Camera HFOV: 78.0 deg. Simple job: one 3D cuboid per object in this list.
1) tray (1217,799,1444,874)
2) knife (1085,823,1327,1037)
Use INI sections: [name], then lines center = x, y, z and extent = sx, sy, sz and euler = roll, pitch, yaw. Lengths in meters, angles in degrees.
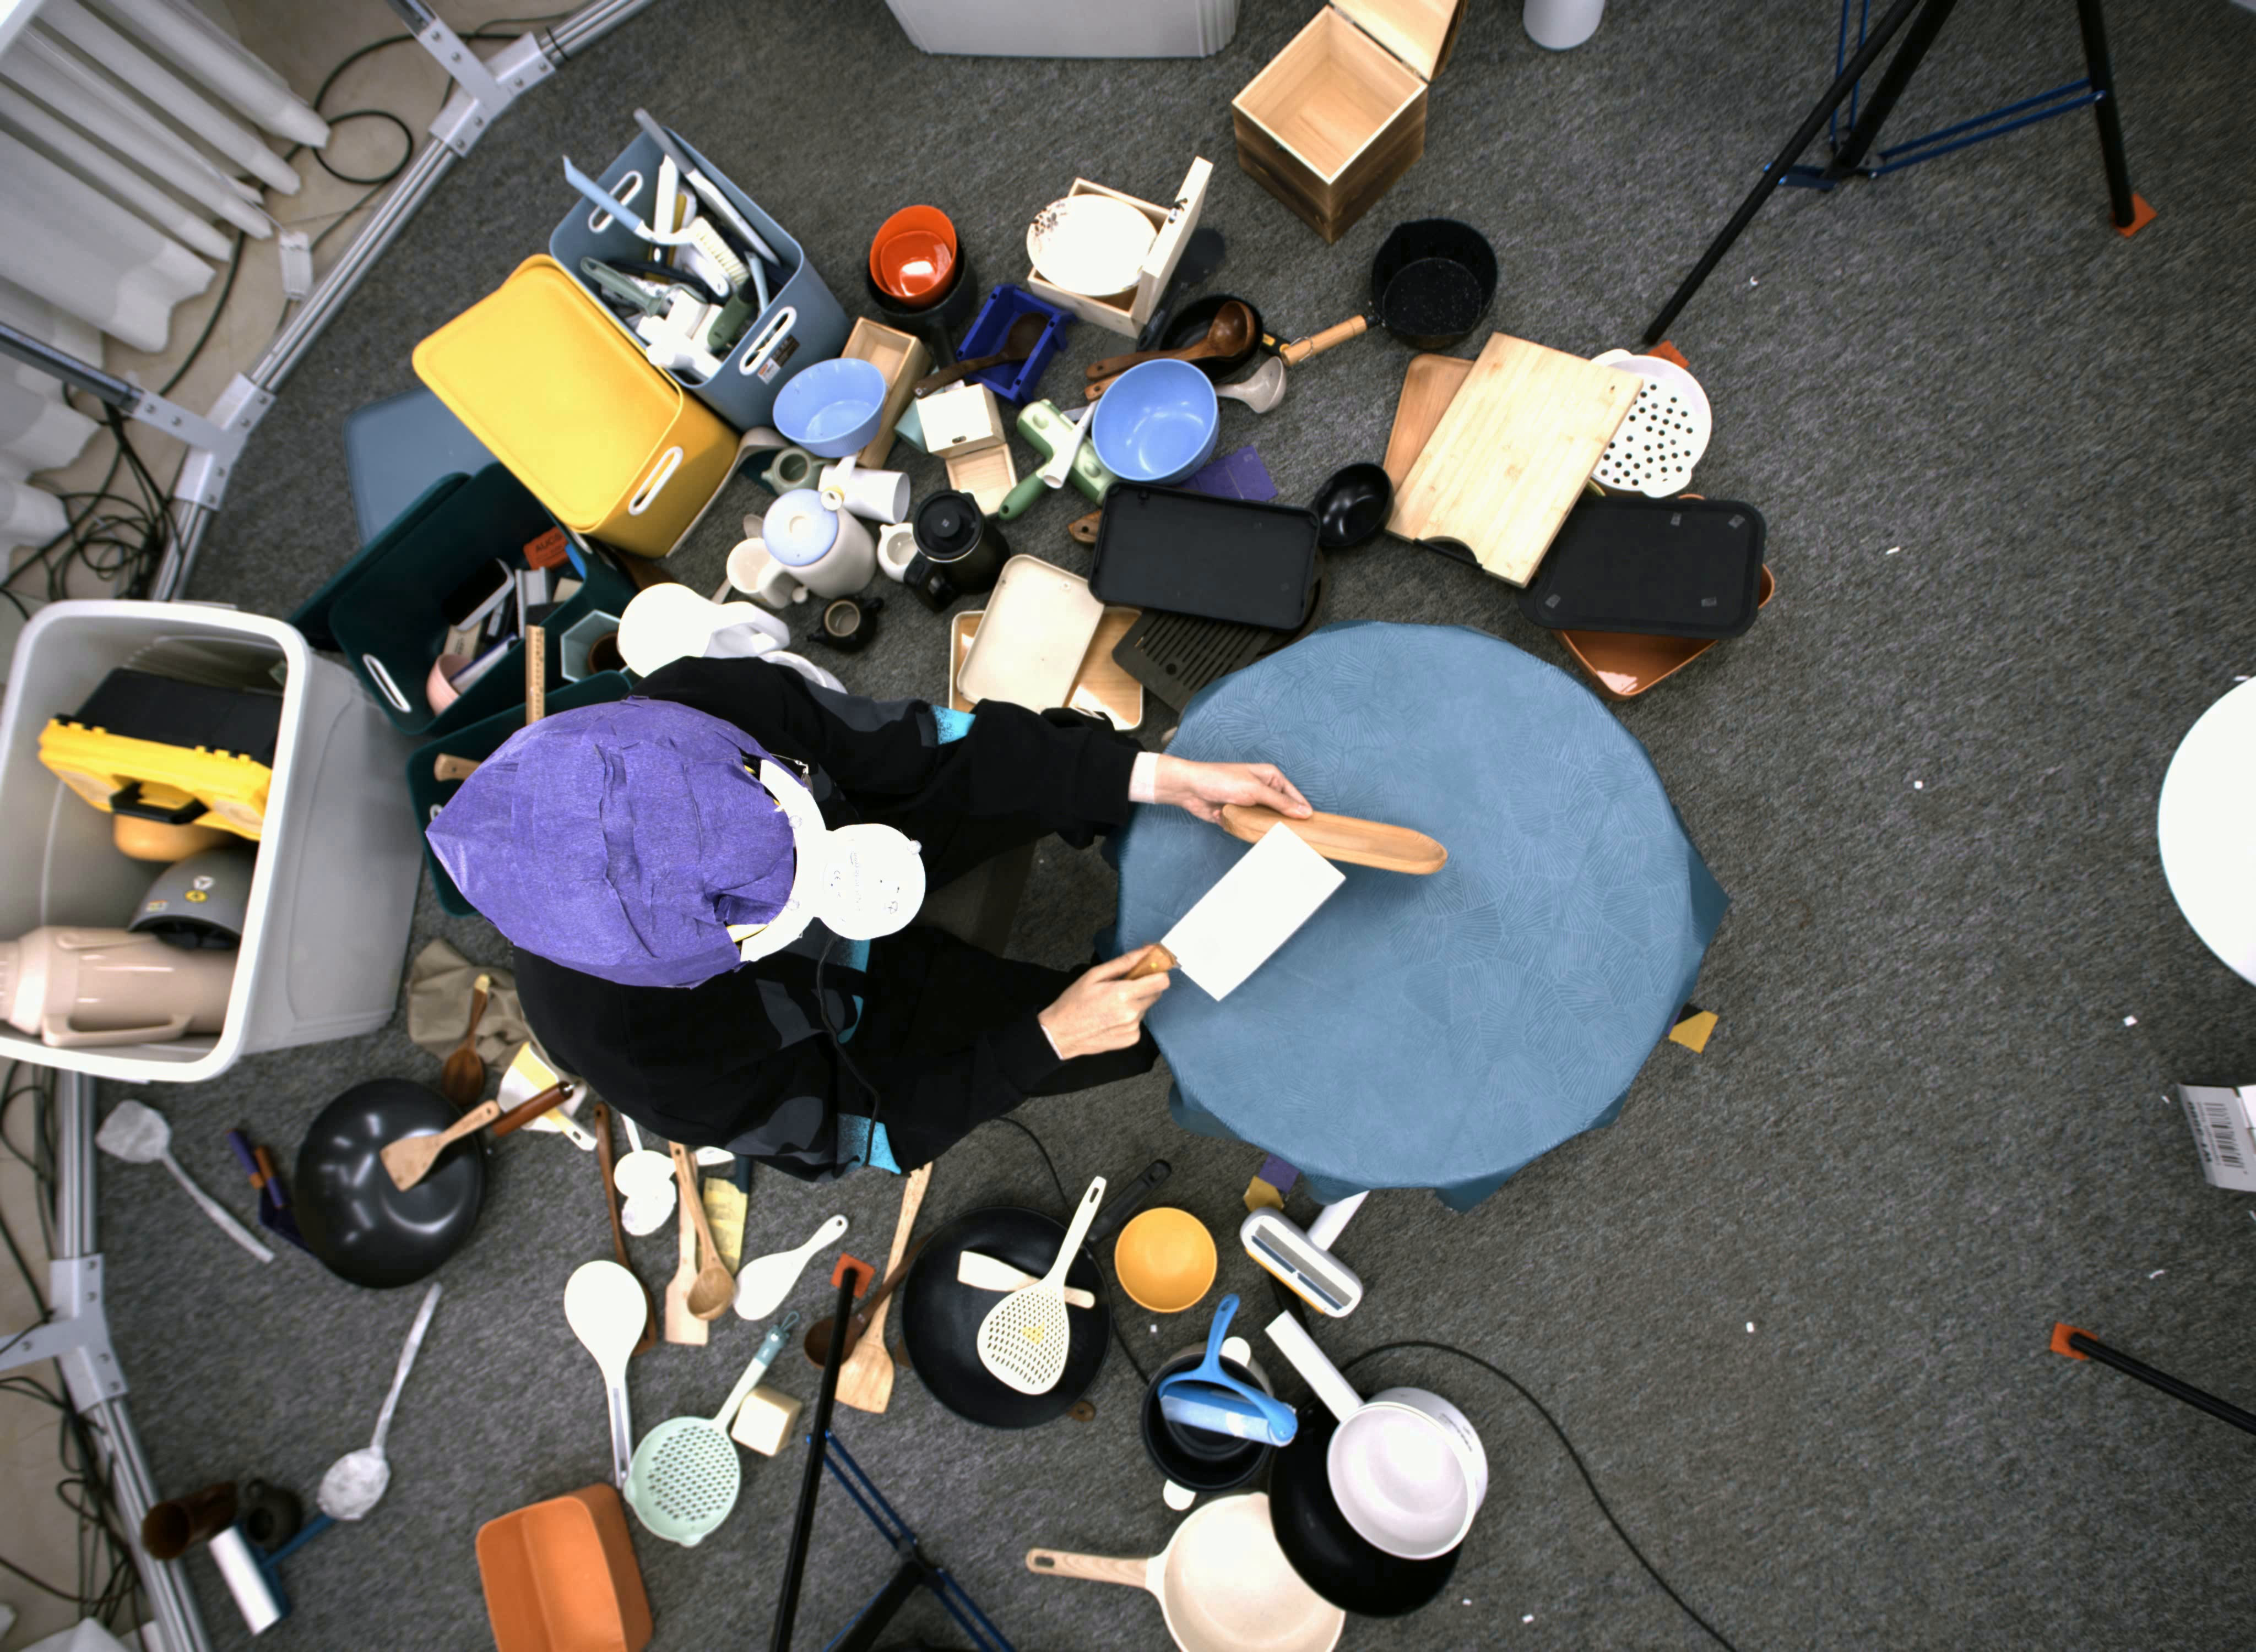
[tray]
center = 0.203, 0.009, 1.392
extent = 0.231, 0.100, 0.020
euler = 9, 110, 4
[knife]
center = 0.080, 0.123, 1.406
extent = 0.093, 0.020, 0.311
euler = 38, 114, -11
